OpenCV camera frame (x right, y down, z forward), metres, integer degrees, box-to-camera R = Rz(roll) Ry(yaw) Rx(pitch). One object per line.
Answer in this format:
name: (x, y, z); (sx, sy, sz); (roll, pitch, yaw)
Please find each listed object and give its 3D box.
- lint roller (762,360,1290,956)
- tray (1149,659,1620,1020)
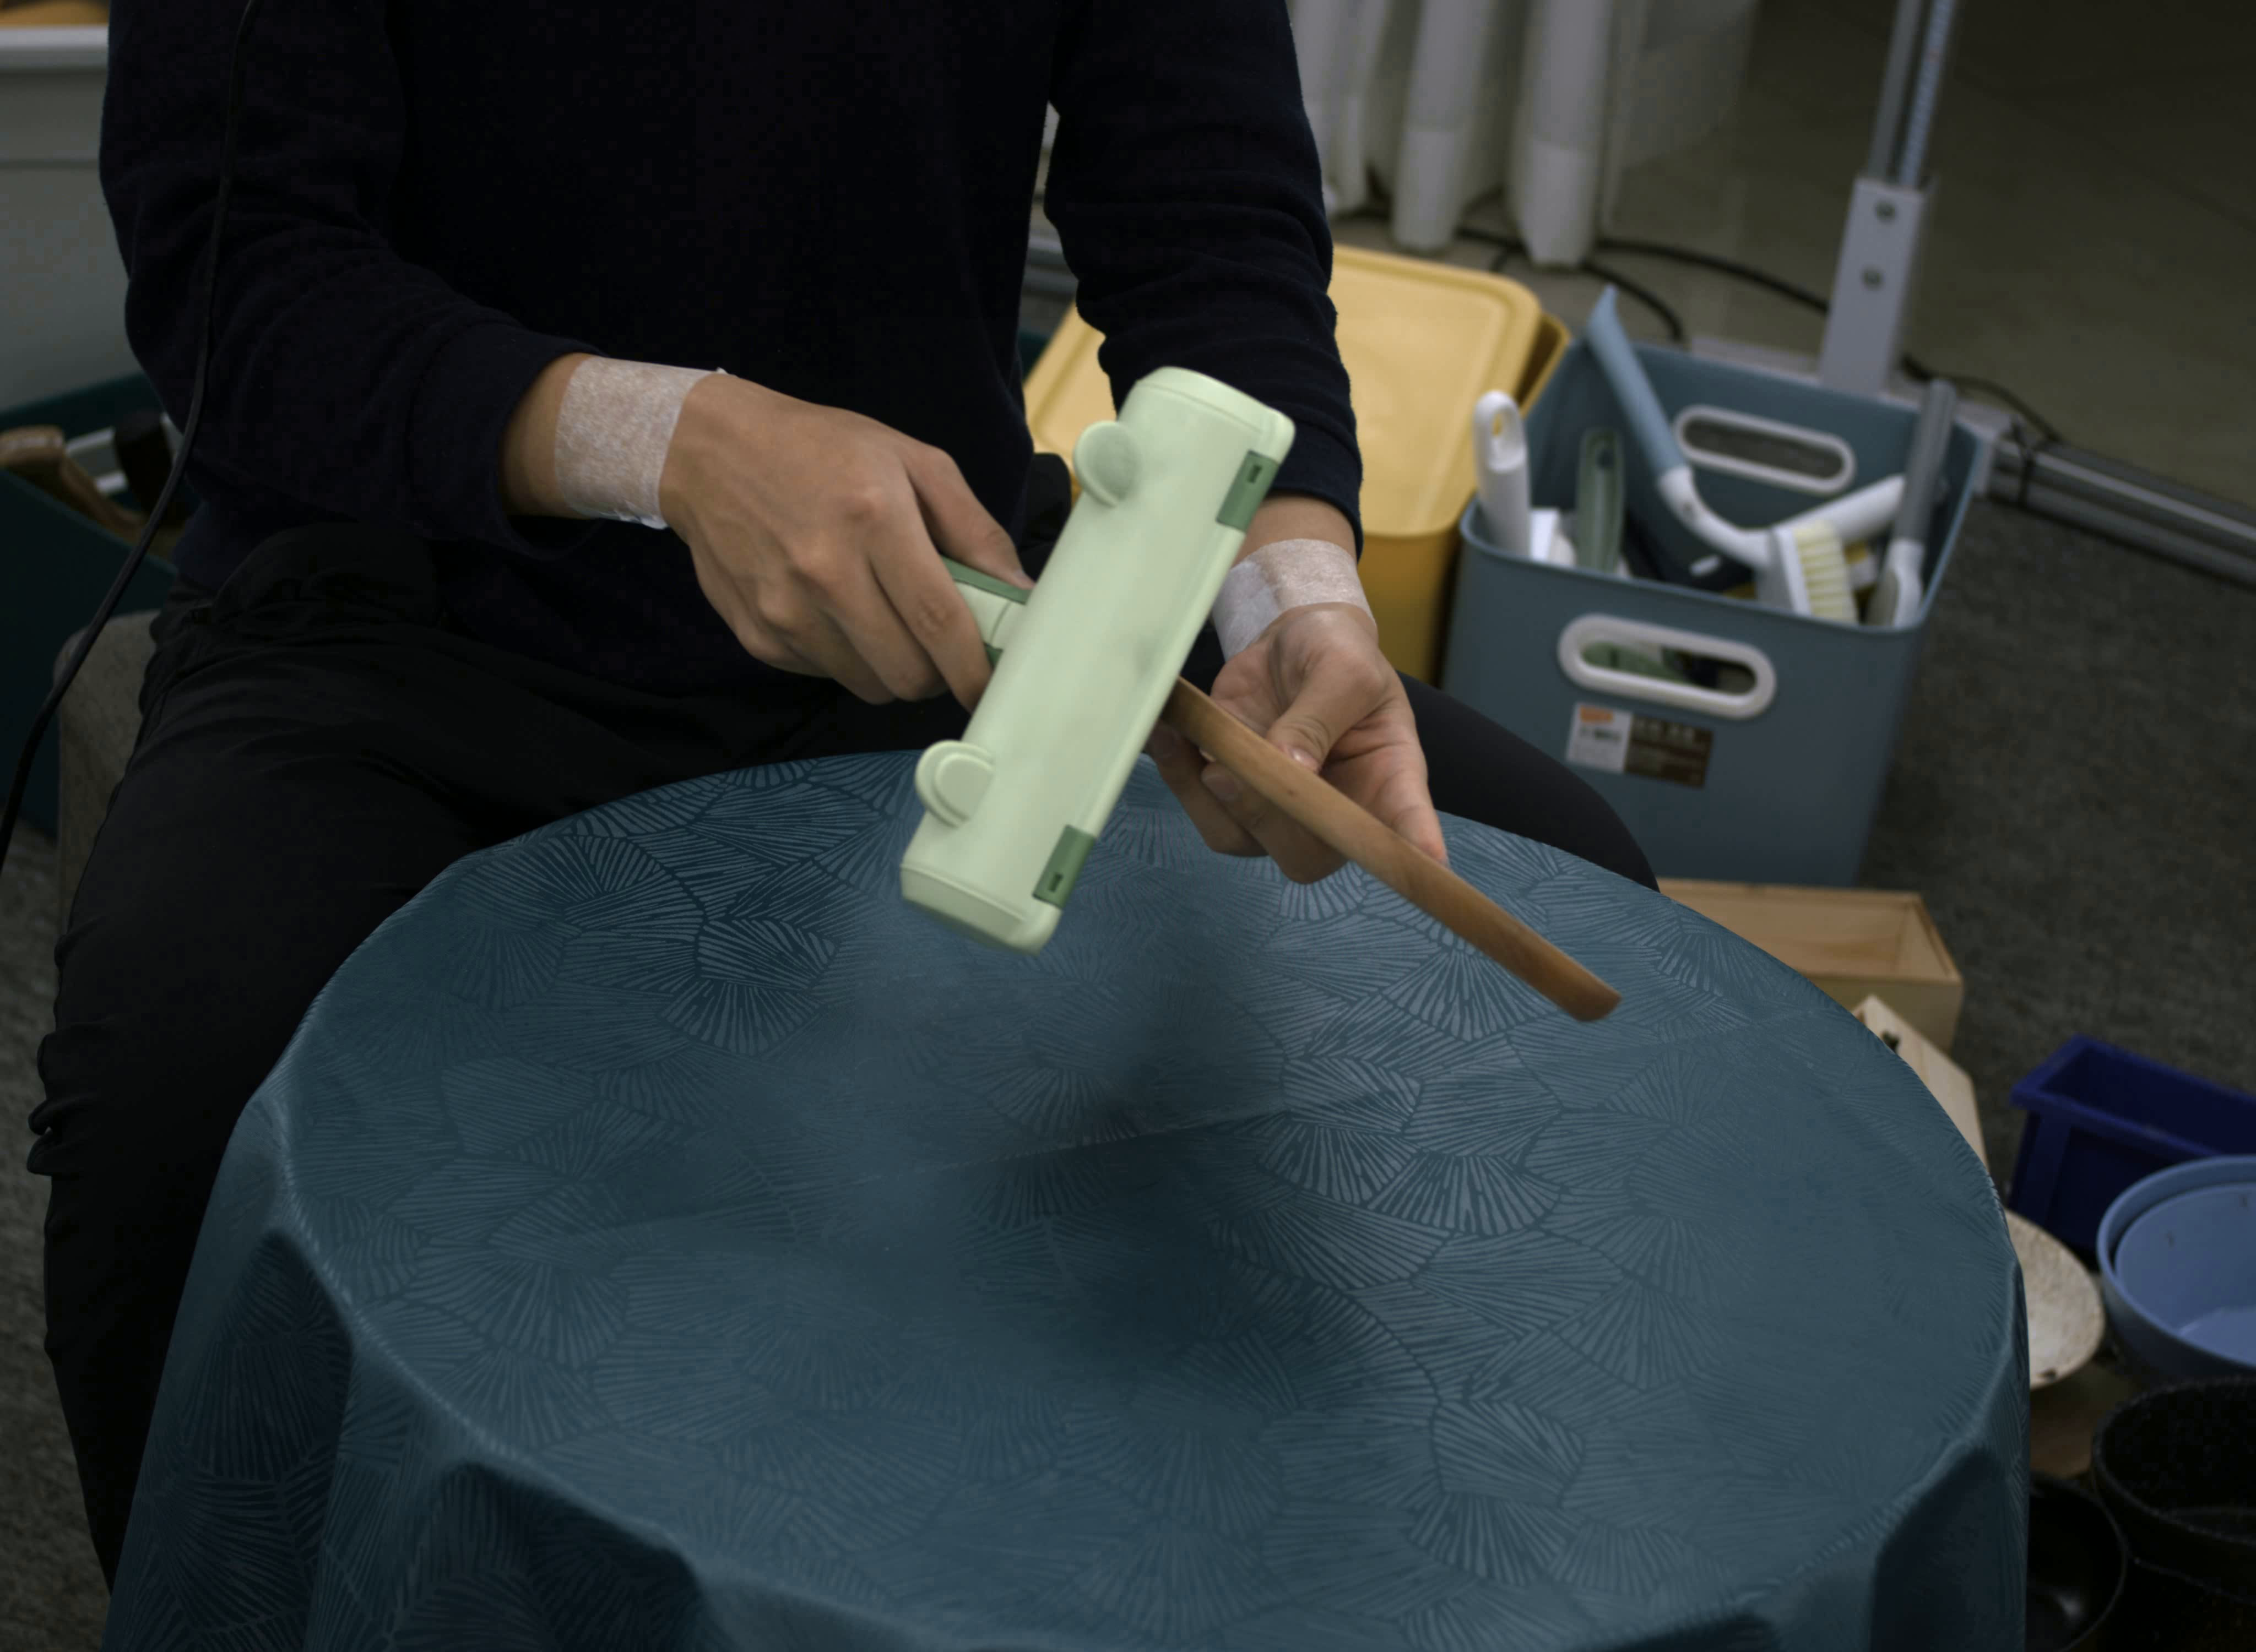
lint roller: (-0.060, -0.074, 1.744); (0.184, 0.199, 0.081); (21, -9, 29)
tray: (0.064, -0.007, 1.743); (0.129, 0.023, 0.252); (38, 0, -31)
